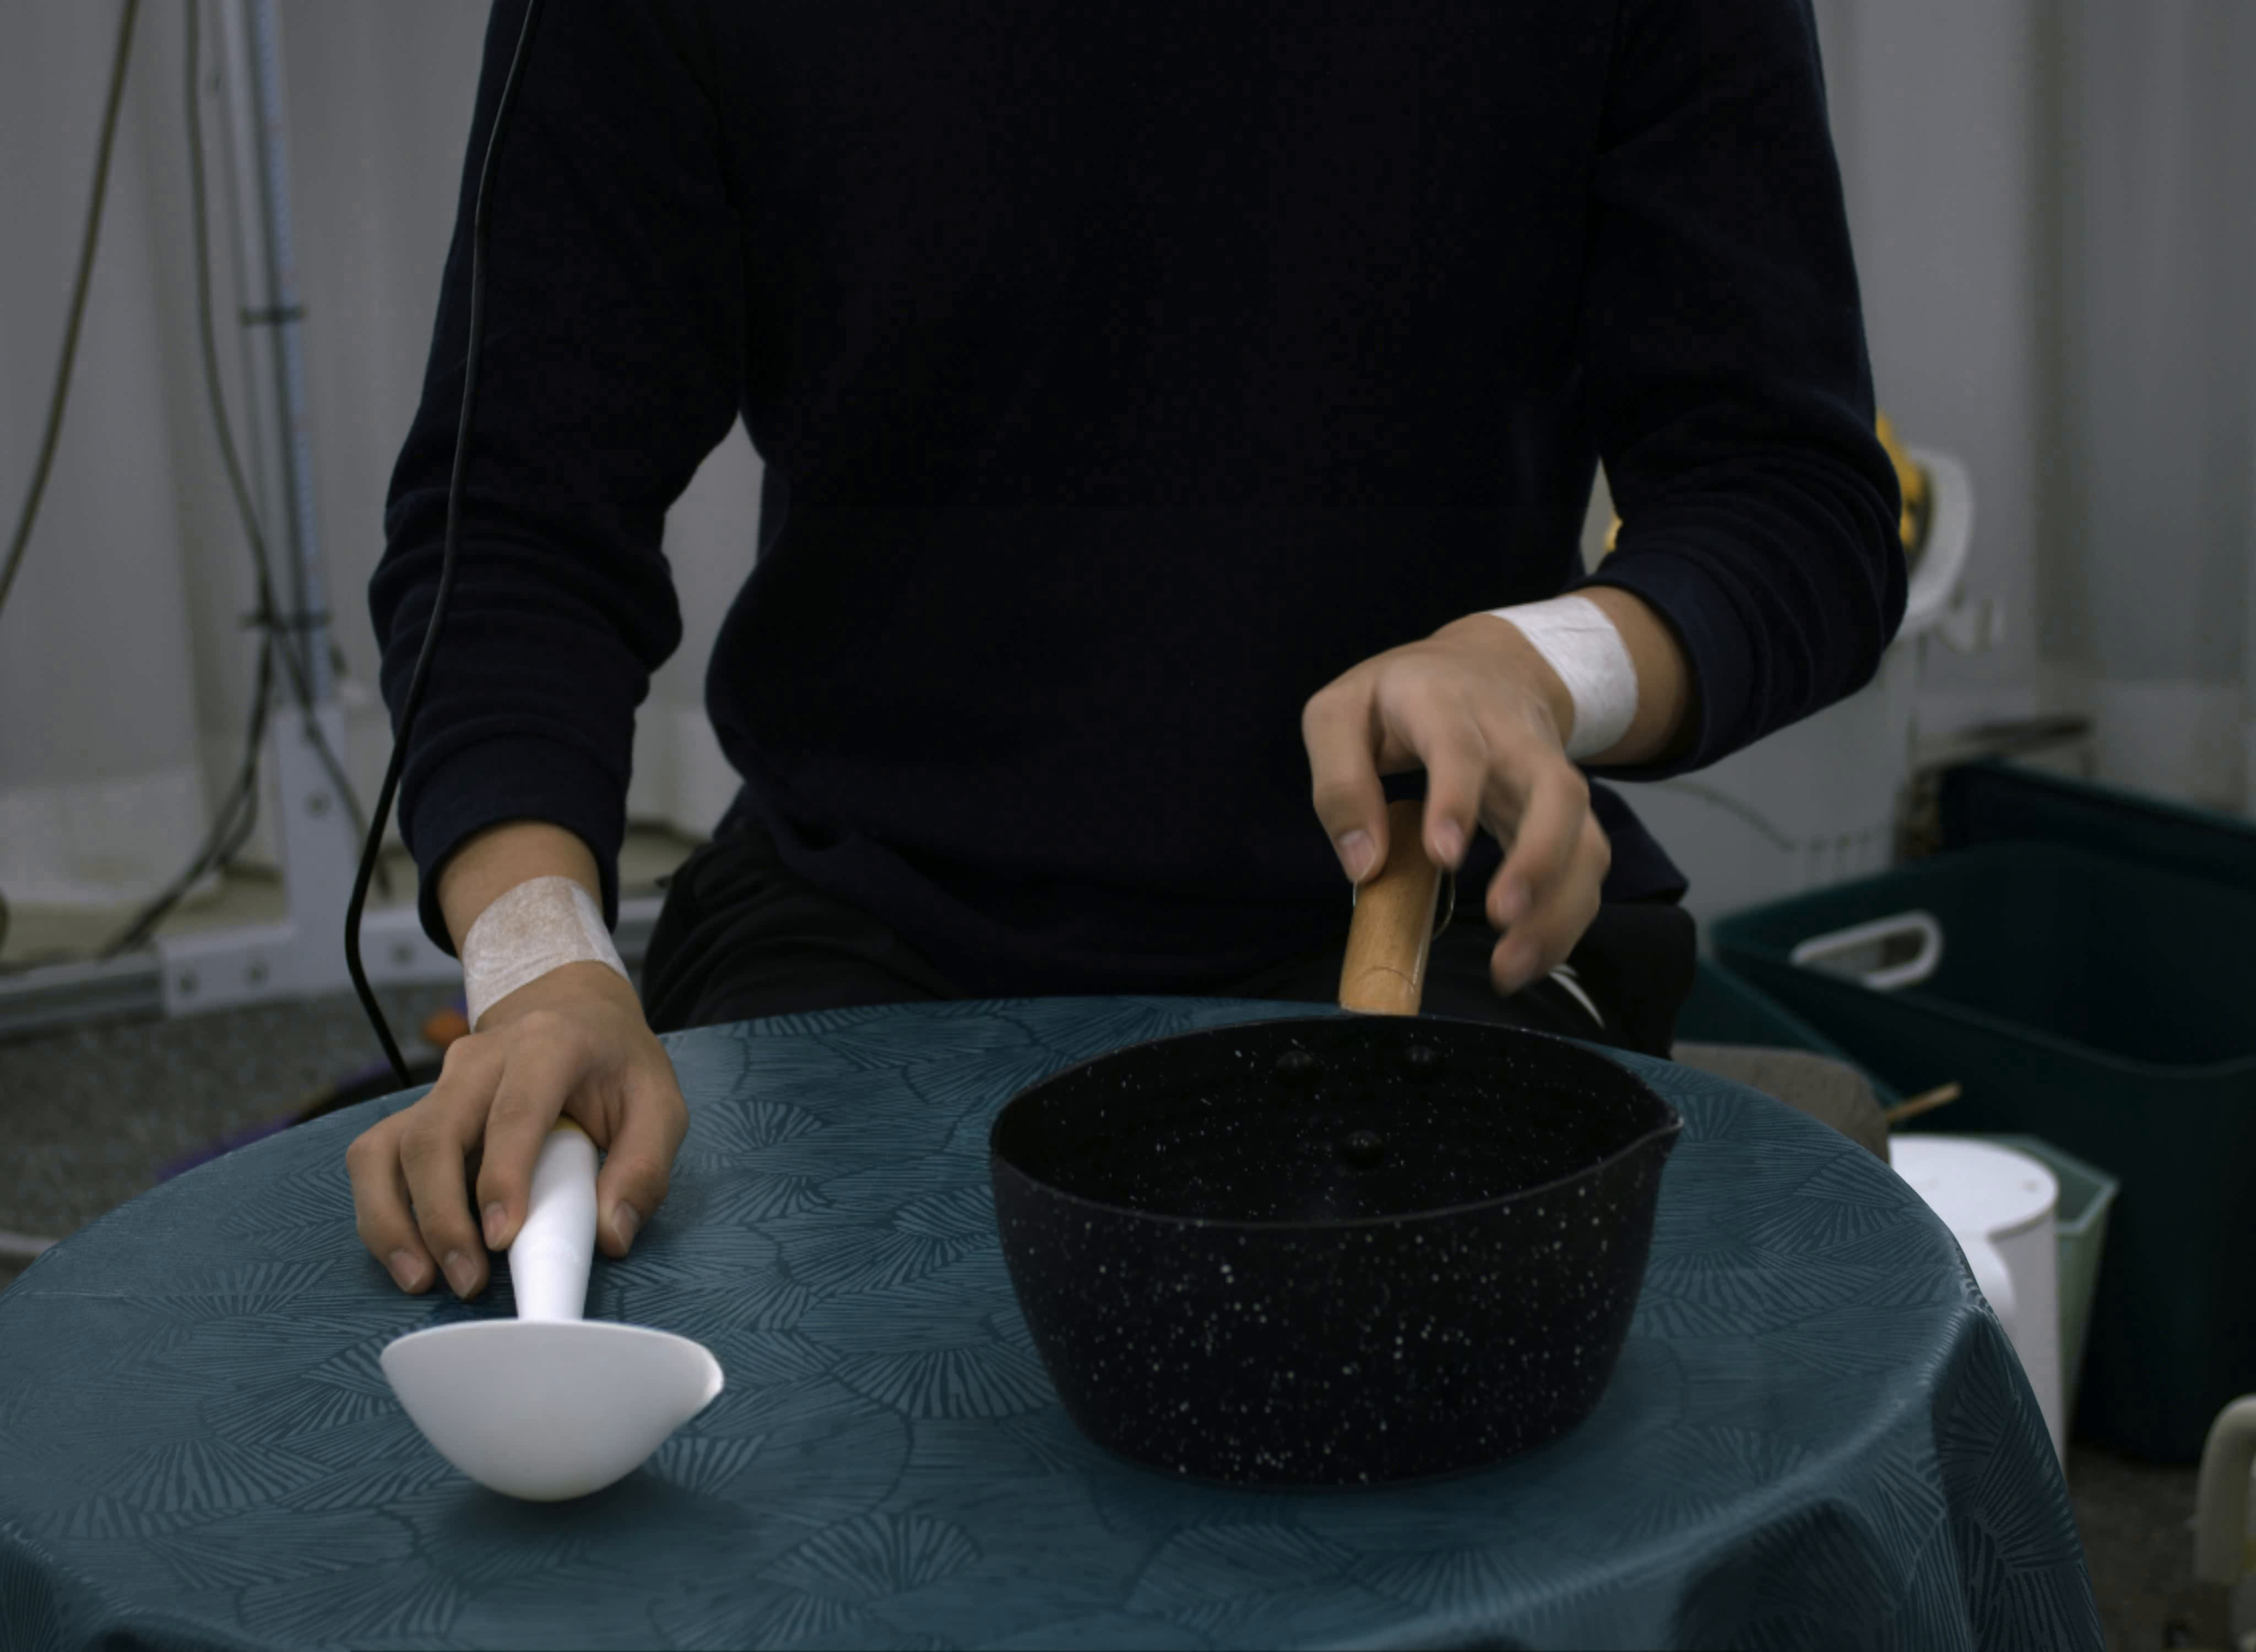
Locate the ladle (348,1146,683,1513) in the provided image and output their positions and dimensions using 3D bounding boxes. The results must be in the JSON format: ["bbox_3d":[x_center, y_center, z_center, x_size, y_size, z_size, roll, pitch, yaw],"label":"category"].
[{"bbox_3d":[-0.169,0.130,1.584,0.090,0.070,0.295,-2,13,-2],"label":"ladle"}]

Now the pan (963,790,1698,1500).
[{"bbox_3d":[0.066,0.088,1.596,0.207,0.108,0.345,-2,16,8],"label":"pan"}]
